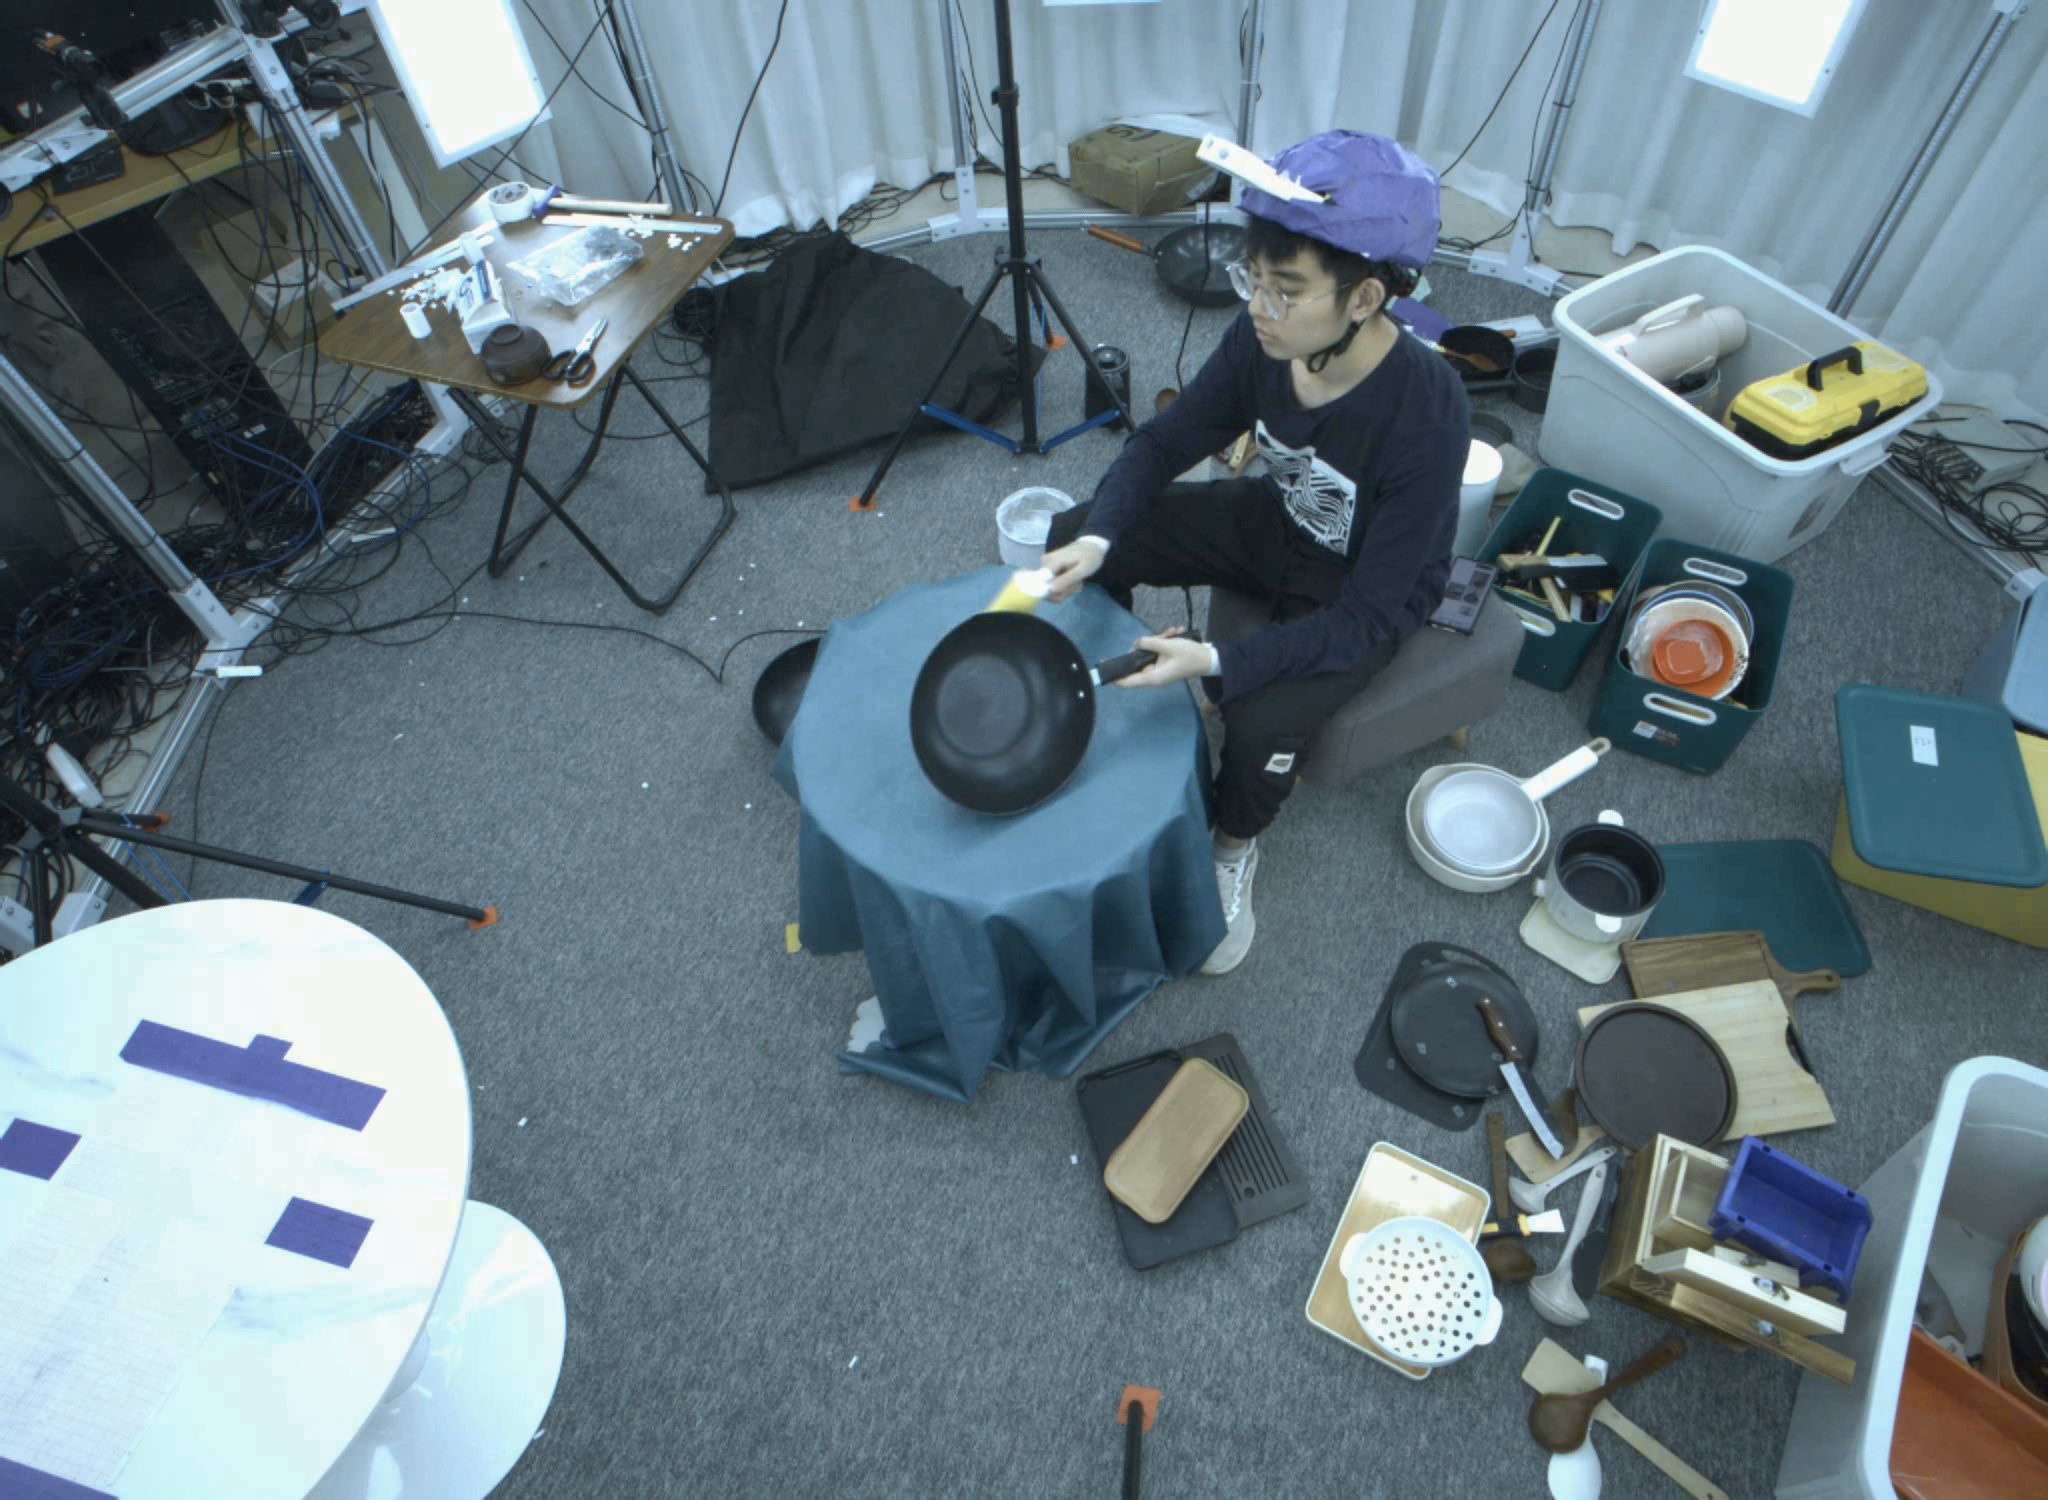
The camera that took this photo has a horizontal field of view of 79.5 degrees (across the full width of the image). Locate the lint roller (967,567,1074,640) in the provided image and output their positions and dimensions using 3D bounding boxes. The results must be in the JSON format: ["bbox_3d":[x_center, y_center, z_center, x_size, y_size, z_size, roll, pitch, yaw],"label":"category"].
[{"bbox_3d":[0.002,-0.226,1.762,0.051,0.173,0.193,47,49,1],"label":"lint roller"}]

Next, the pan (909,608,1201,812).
[{"bbox_3d":[0.038,-0.092,1.743,0.468,0.291,0.085,-23,21,-21],"label":"pan"}]
